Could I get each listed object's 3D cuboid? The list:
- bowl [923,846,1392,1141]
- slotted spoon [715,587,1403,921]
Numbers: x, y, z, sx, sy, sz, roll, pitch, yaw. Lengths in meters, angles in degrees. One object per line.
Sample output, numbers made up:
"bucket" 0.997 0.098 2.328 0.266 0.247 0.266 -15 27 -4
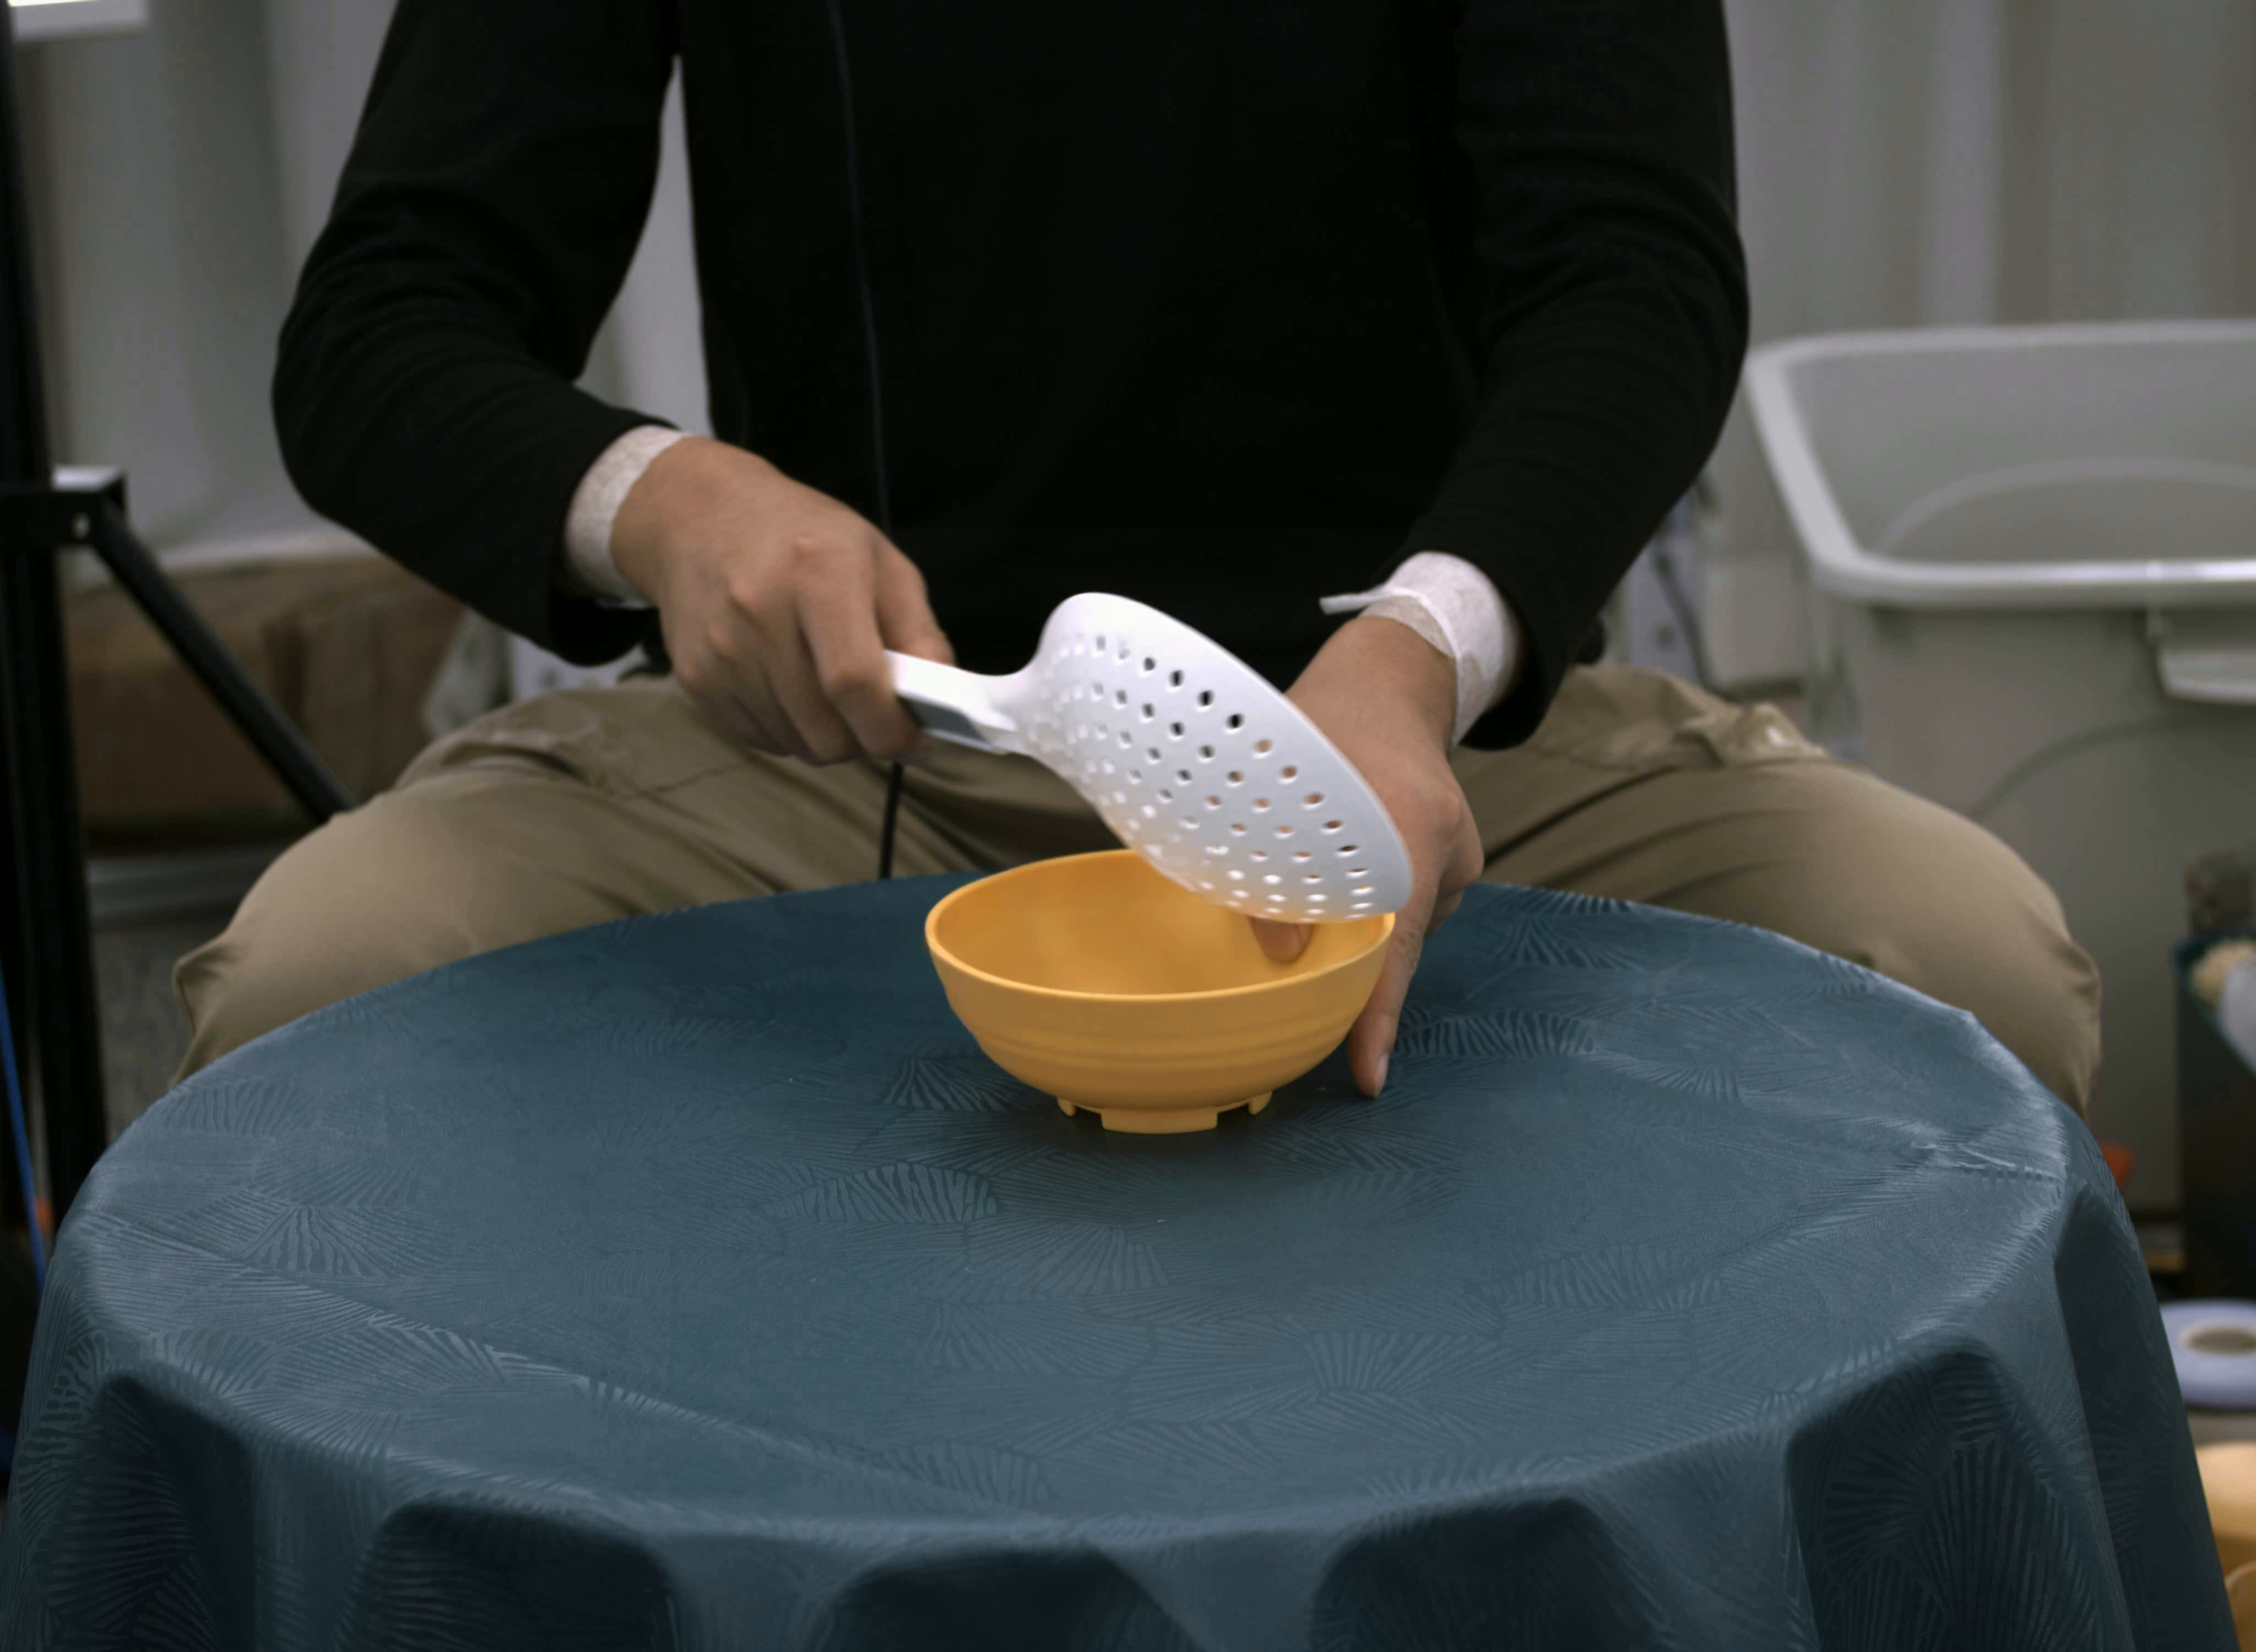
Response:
"bowl" 0.009 0.057 1.632 0.144 0.060 0.146 -1 18 -1
"slotted spoon" -0.036 -0.034 1.680 0.045 0.134 0.357 -45 30 -13
